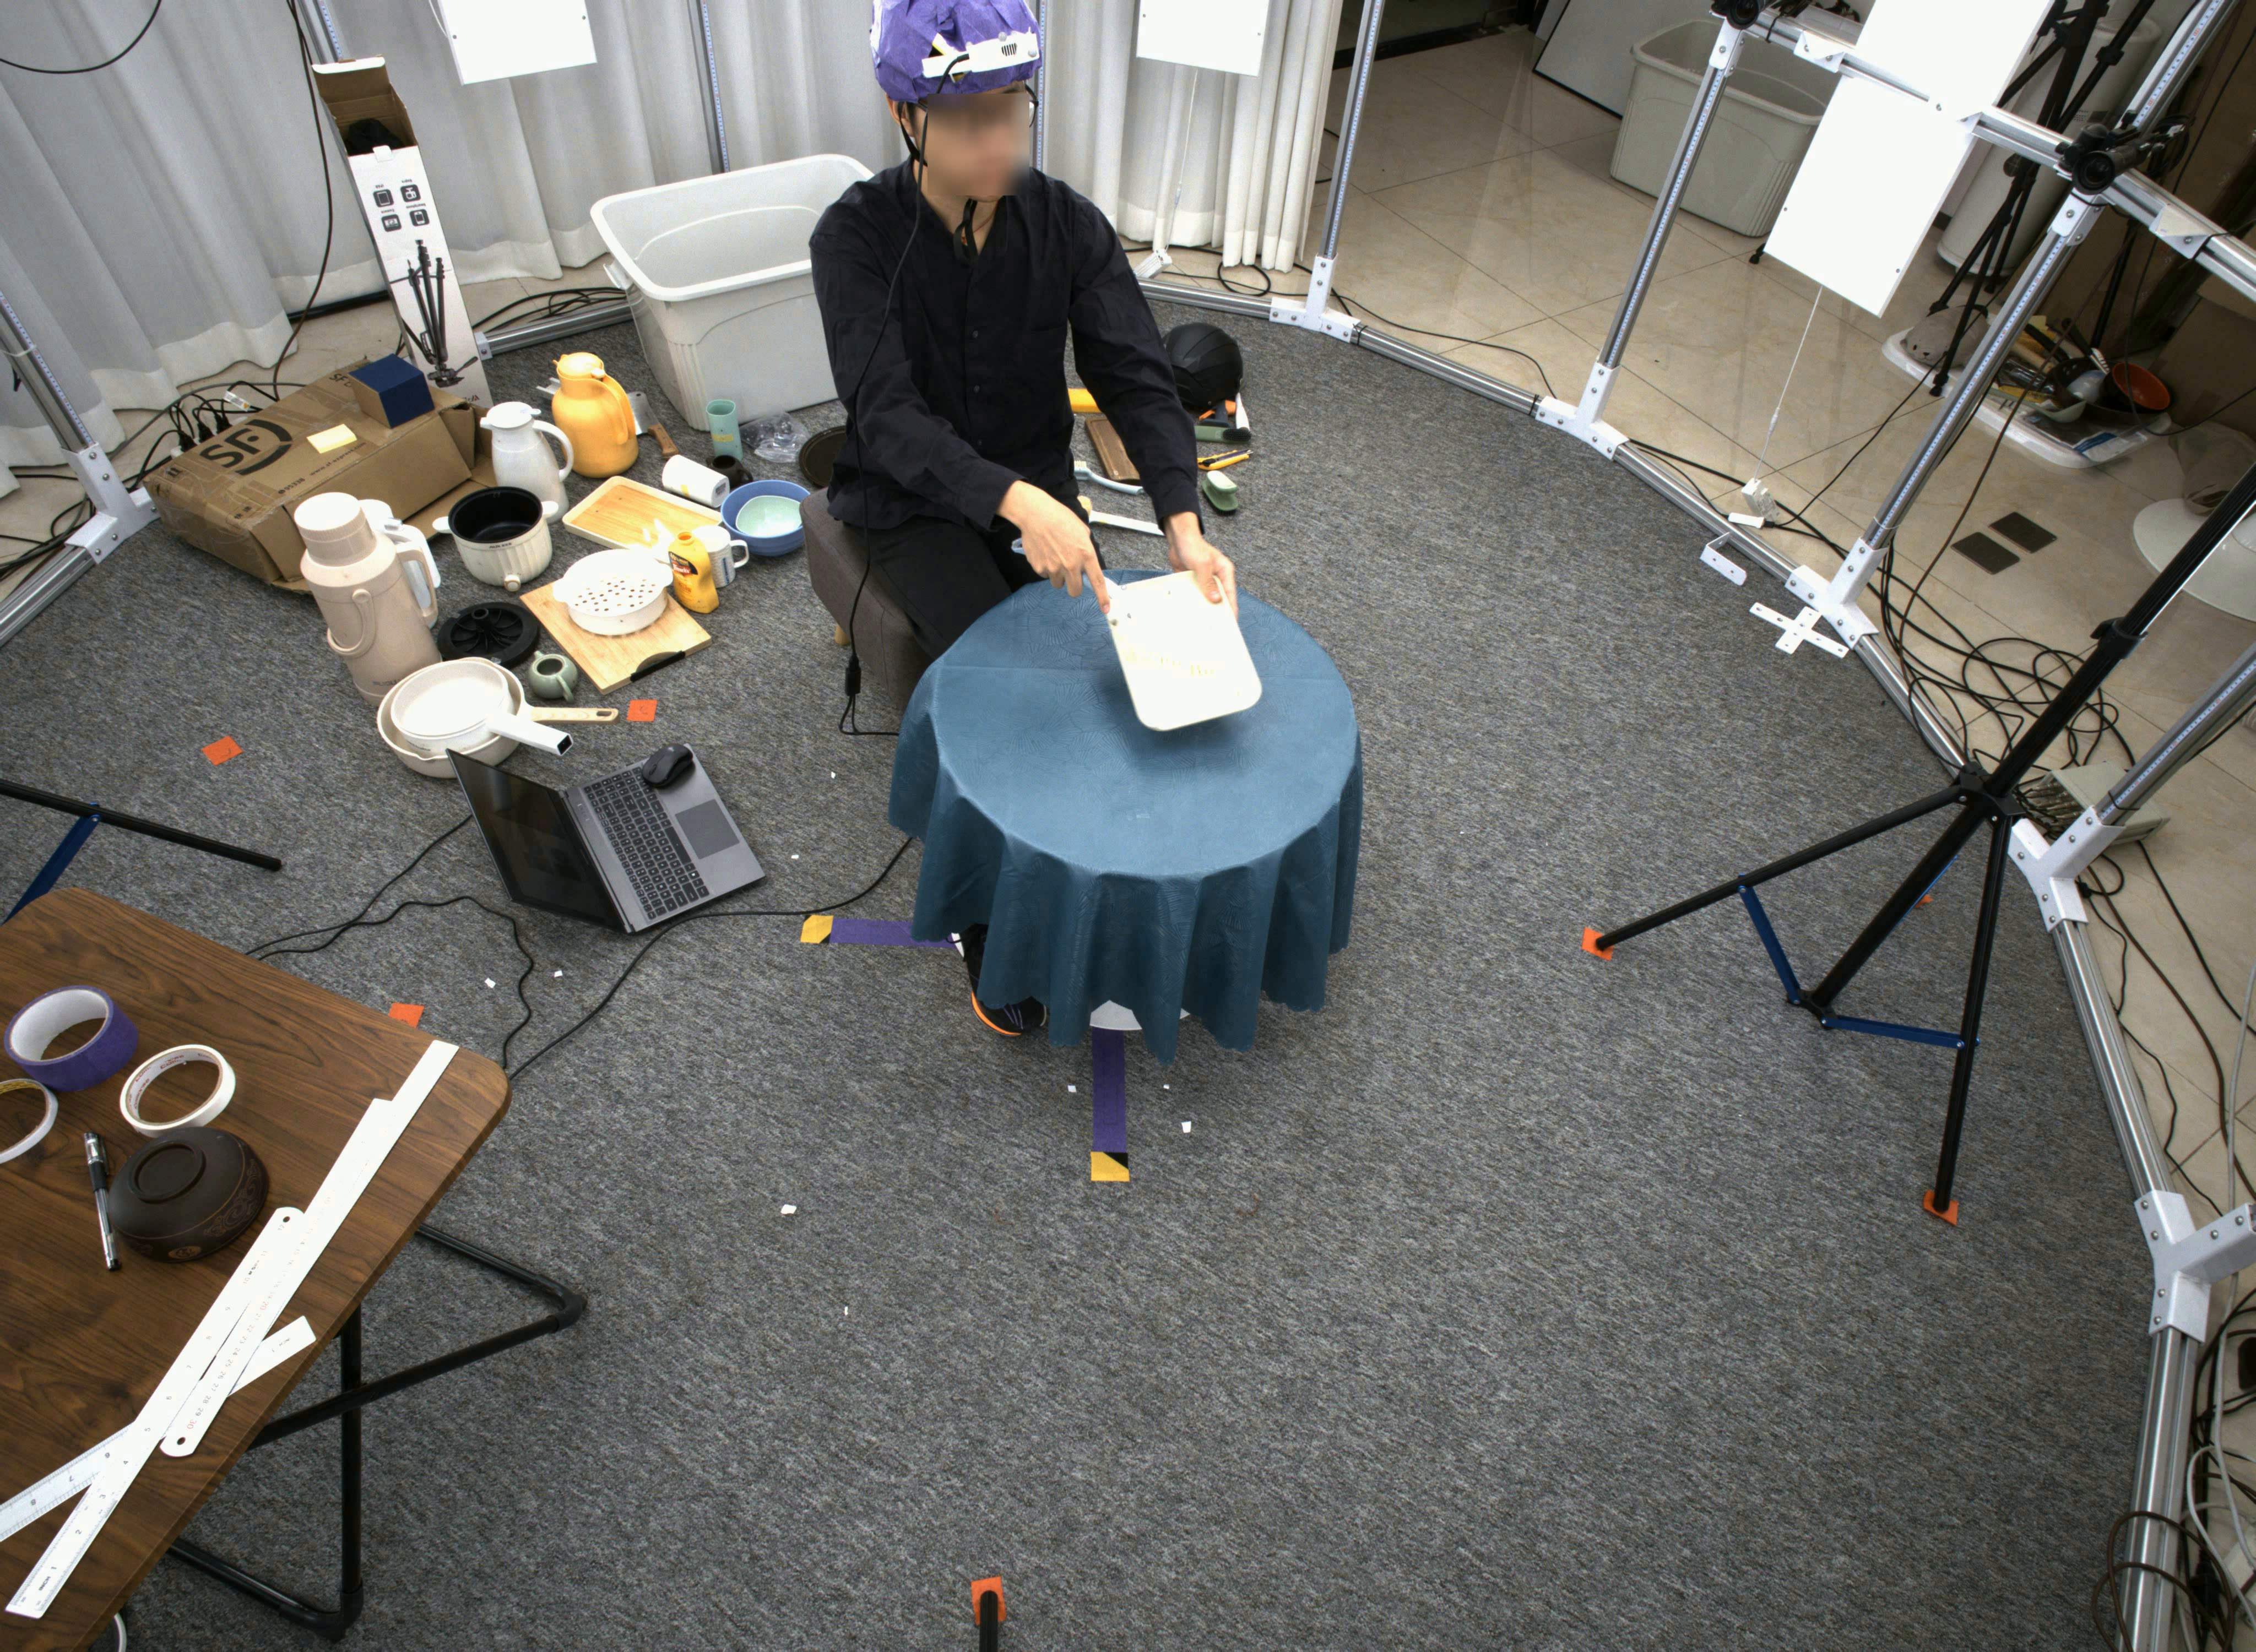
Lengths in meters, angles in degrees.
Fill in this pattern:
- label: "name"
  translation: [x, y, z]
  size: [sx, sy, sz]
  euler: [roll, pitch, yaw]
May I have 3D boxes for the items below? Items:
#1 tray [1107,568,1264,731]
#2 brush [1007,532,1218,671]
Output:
- label: "tray"
  translation: [0.078, -0.245, 1.781]
  size: [0.171, 0.017, 0.244]
  euler: [-15, 64, -7]
- label: "brush"
  translation: [-0.022, -0.307, 1.771]
  size: [0.325, 0.083, 0.084]
  euler: [28, 30, -1]
